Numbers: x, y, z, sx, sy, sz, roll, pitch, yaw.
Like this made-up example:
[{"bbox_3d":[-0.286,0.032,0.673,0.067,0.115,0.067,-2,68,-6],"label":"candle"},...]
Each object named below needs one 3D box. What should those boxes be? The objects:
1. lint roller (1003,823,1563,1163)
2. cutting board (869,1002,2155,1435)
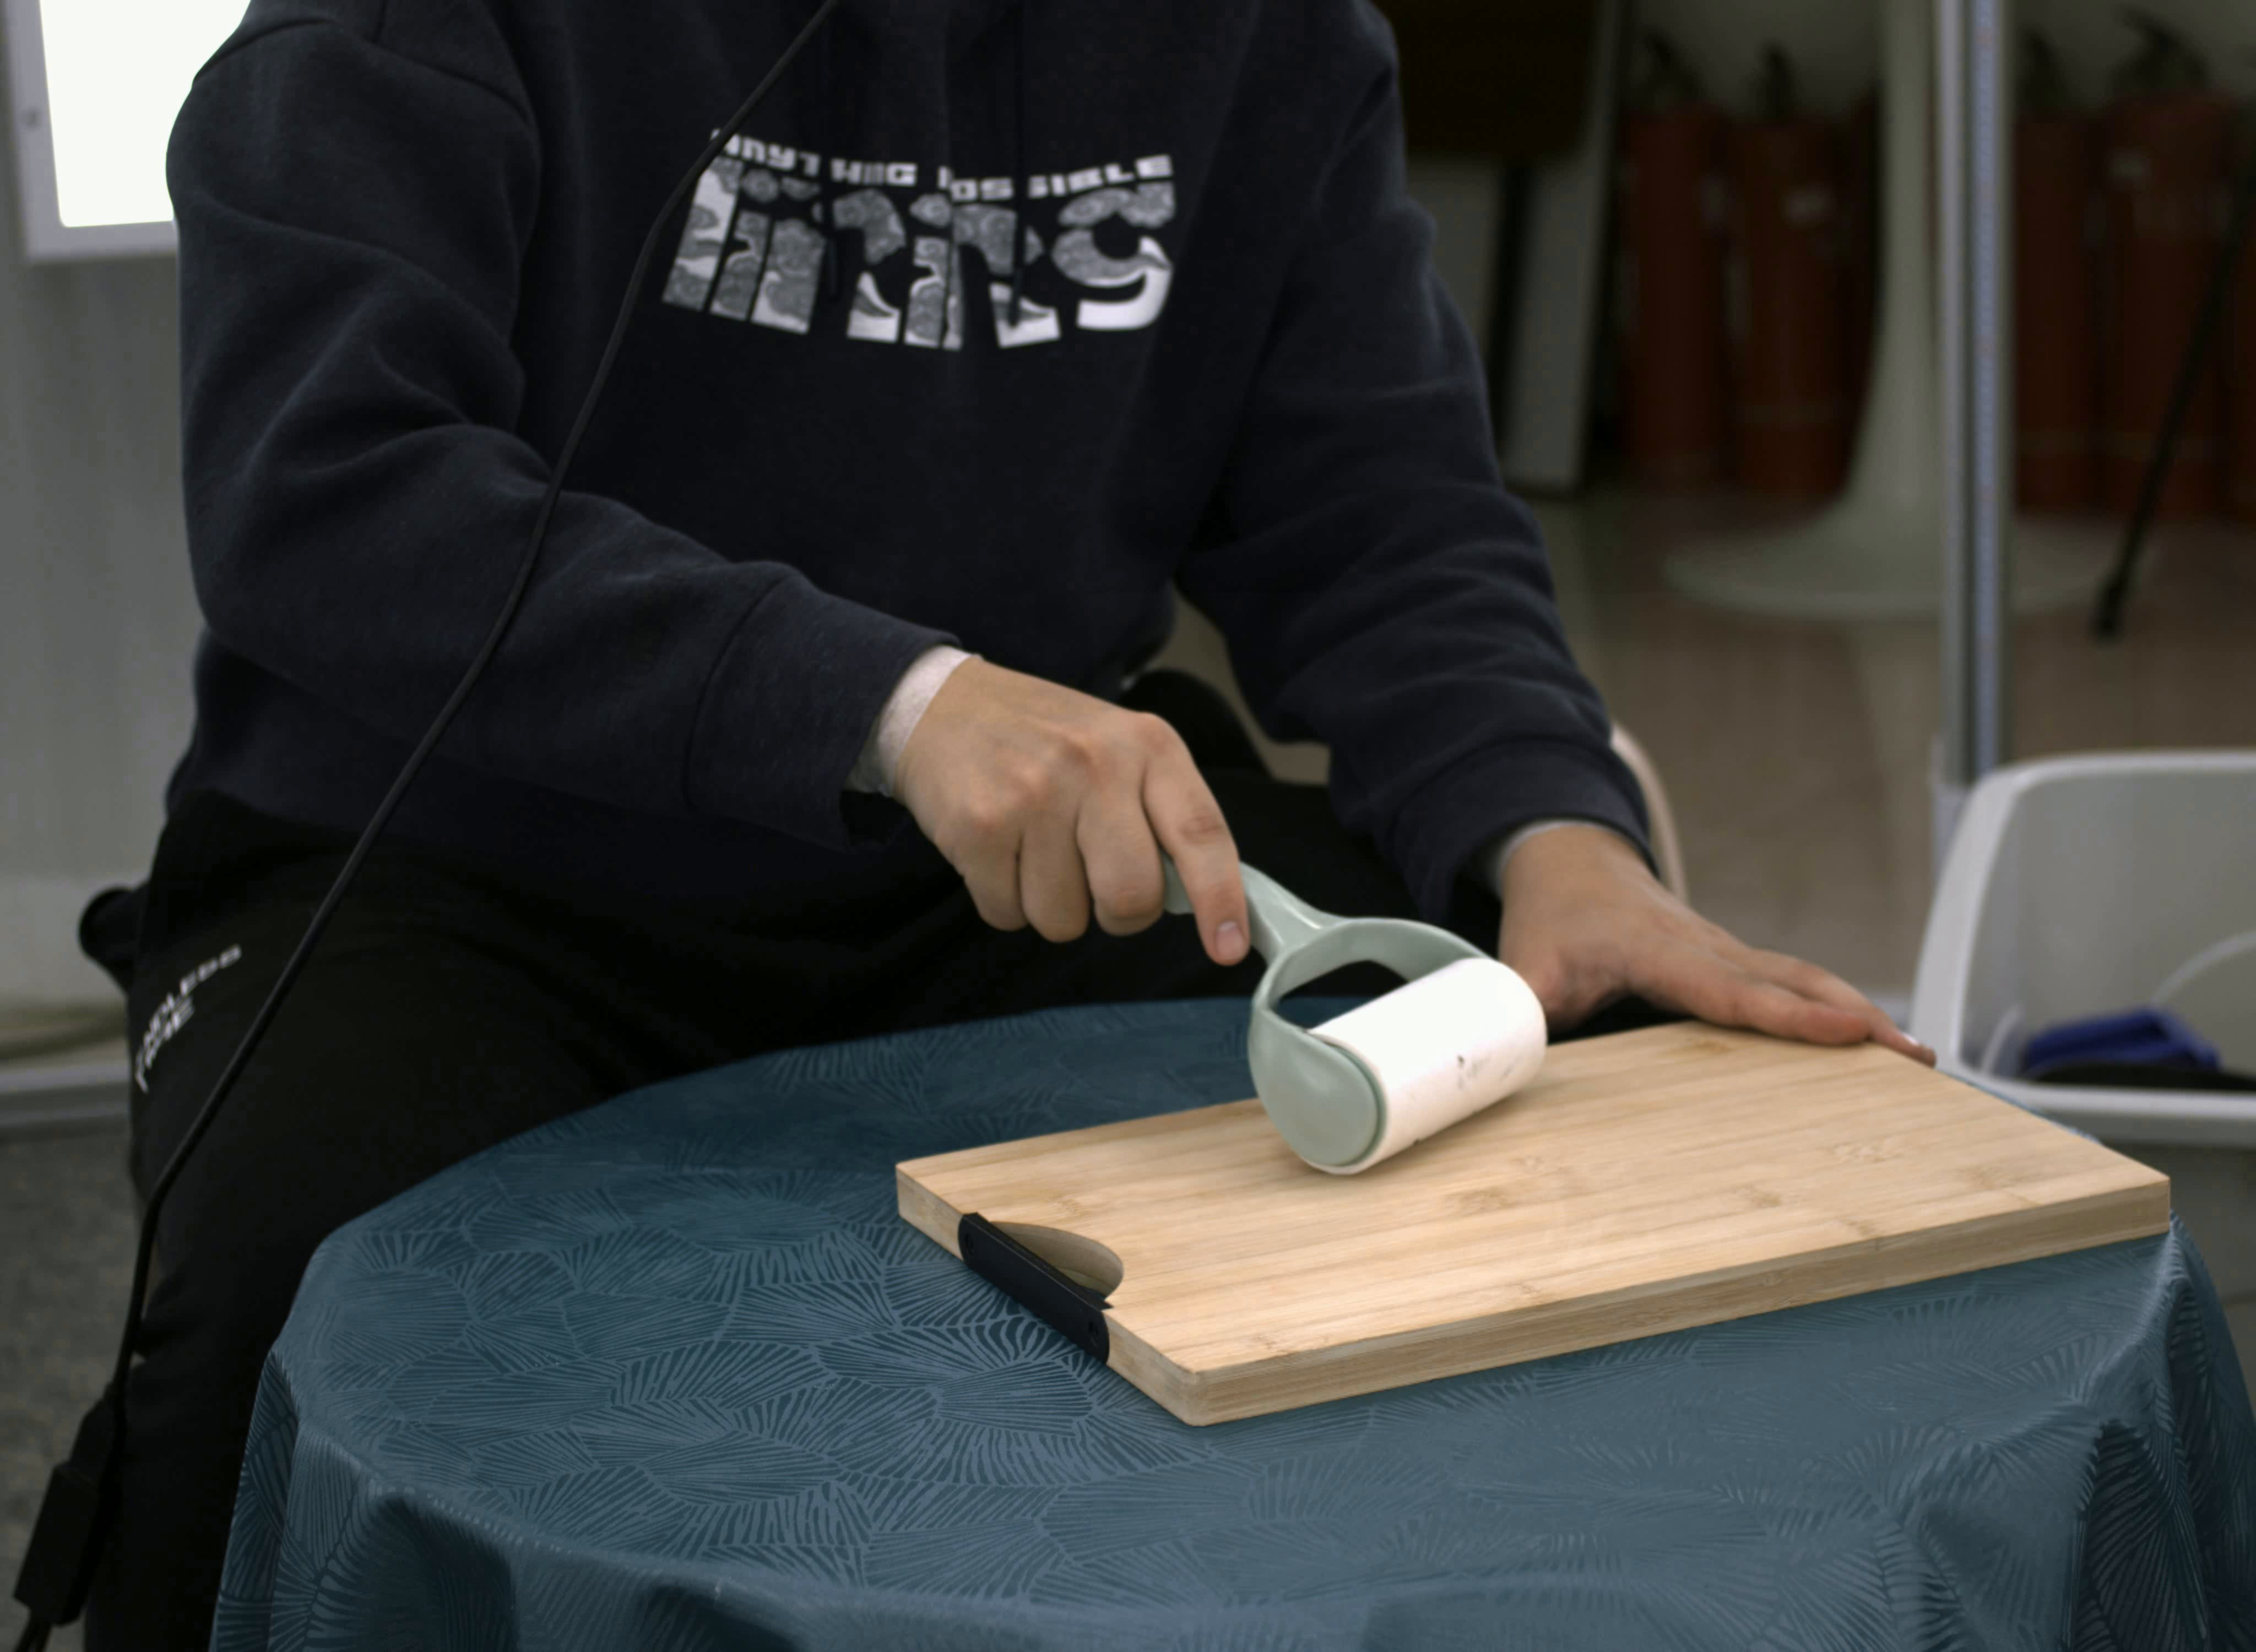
[{"bbox_3d":[0.042,0.039,1.789,0.199,0.049,0.114,33,32,24],"label":"lint roller"},{"bbox_3d":[0.120,0.120,1.715,0.341,0.024,0.253,-10,14,-22],"label":"cutting board"}]
